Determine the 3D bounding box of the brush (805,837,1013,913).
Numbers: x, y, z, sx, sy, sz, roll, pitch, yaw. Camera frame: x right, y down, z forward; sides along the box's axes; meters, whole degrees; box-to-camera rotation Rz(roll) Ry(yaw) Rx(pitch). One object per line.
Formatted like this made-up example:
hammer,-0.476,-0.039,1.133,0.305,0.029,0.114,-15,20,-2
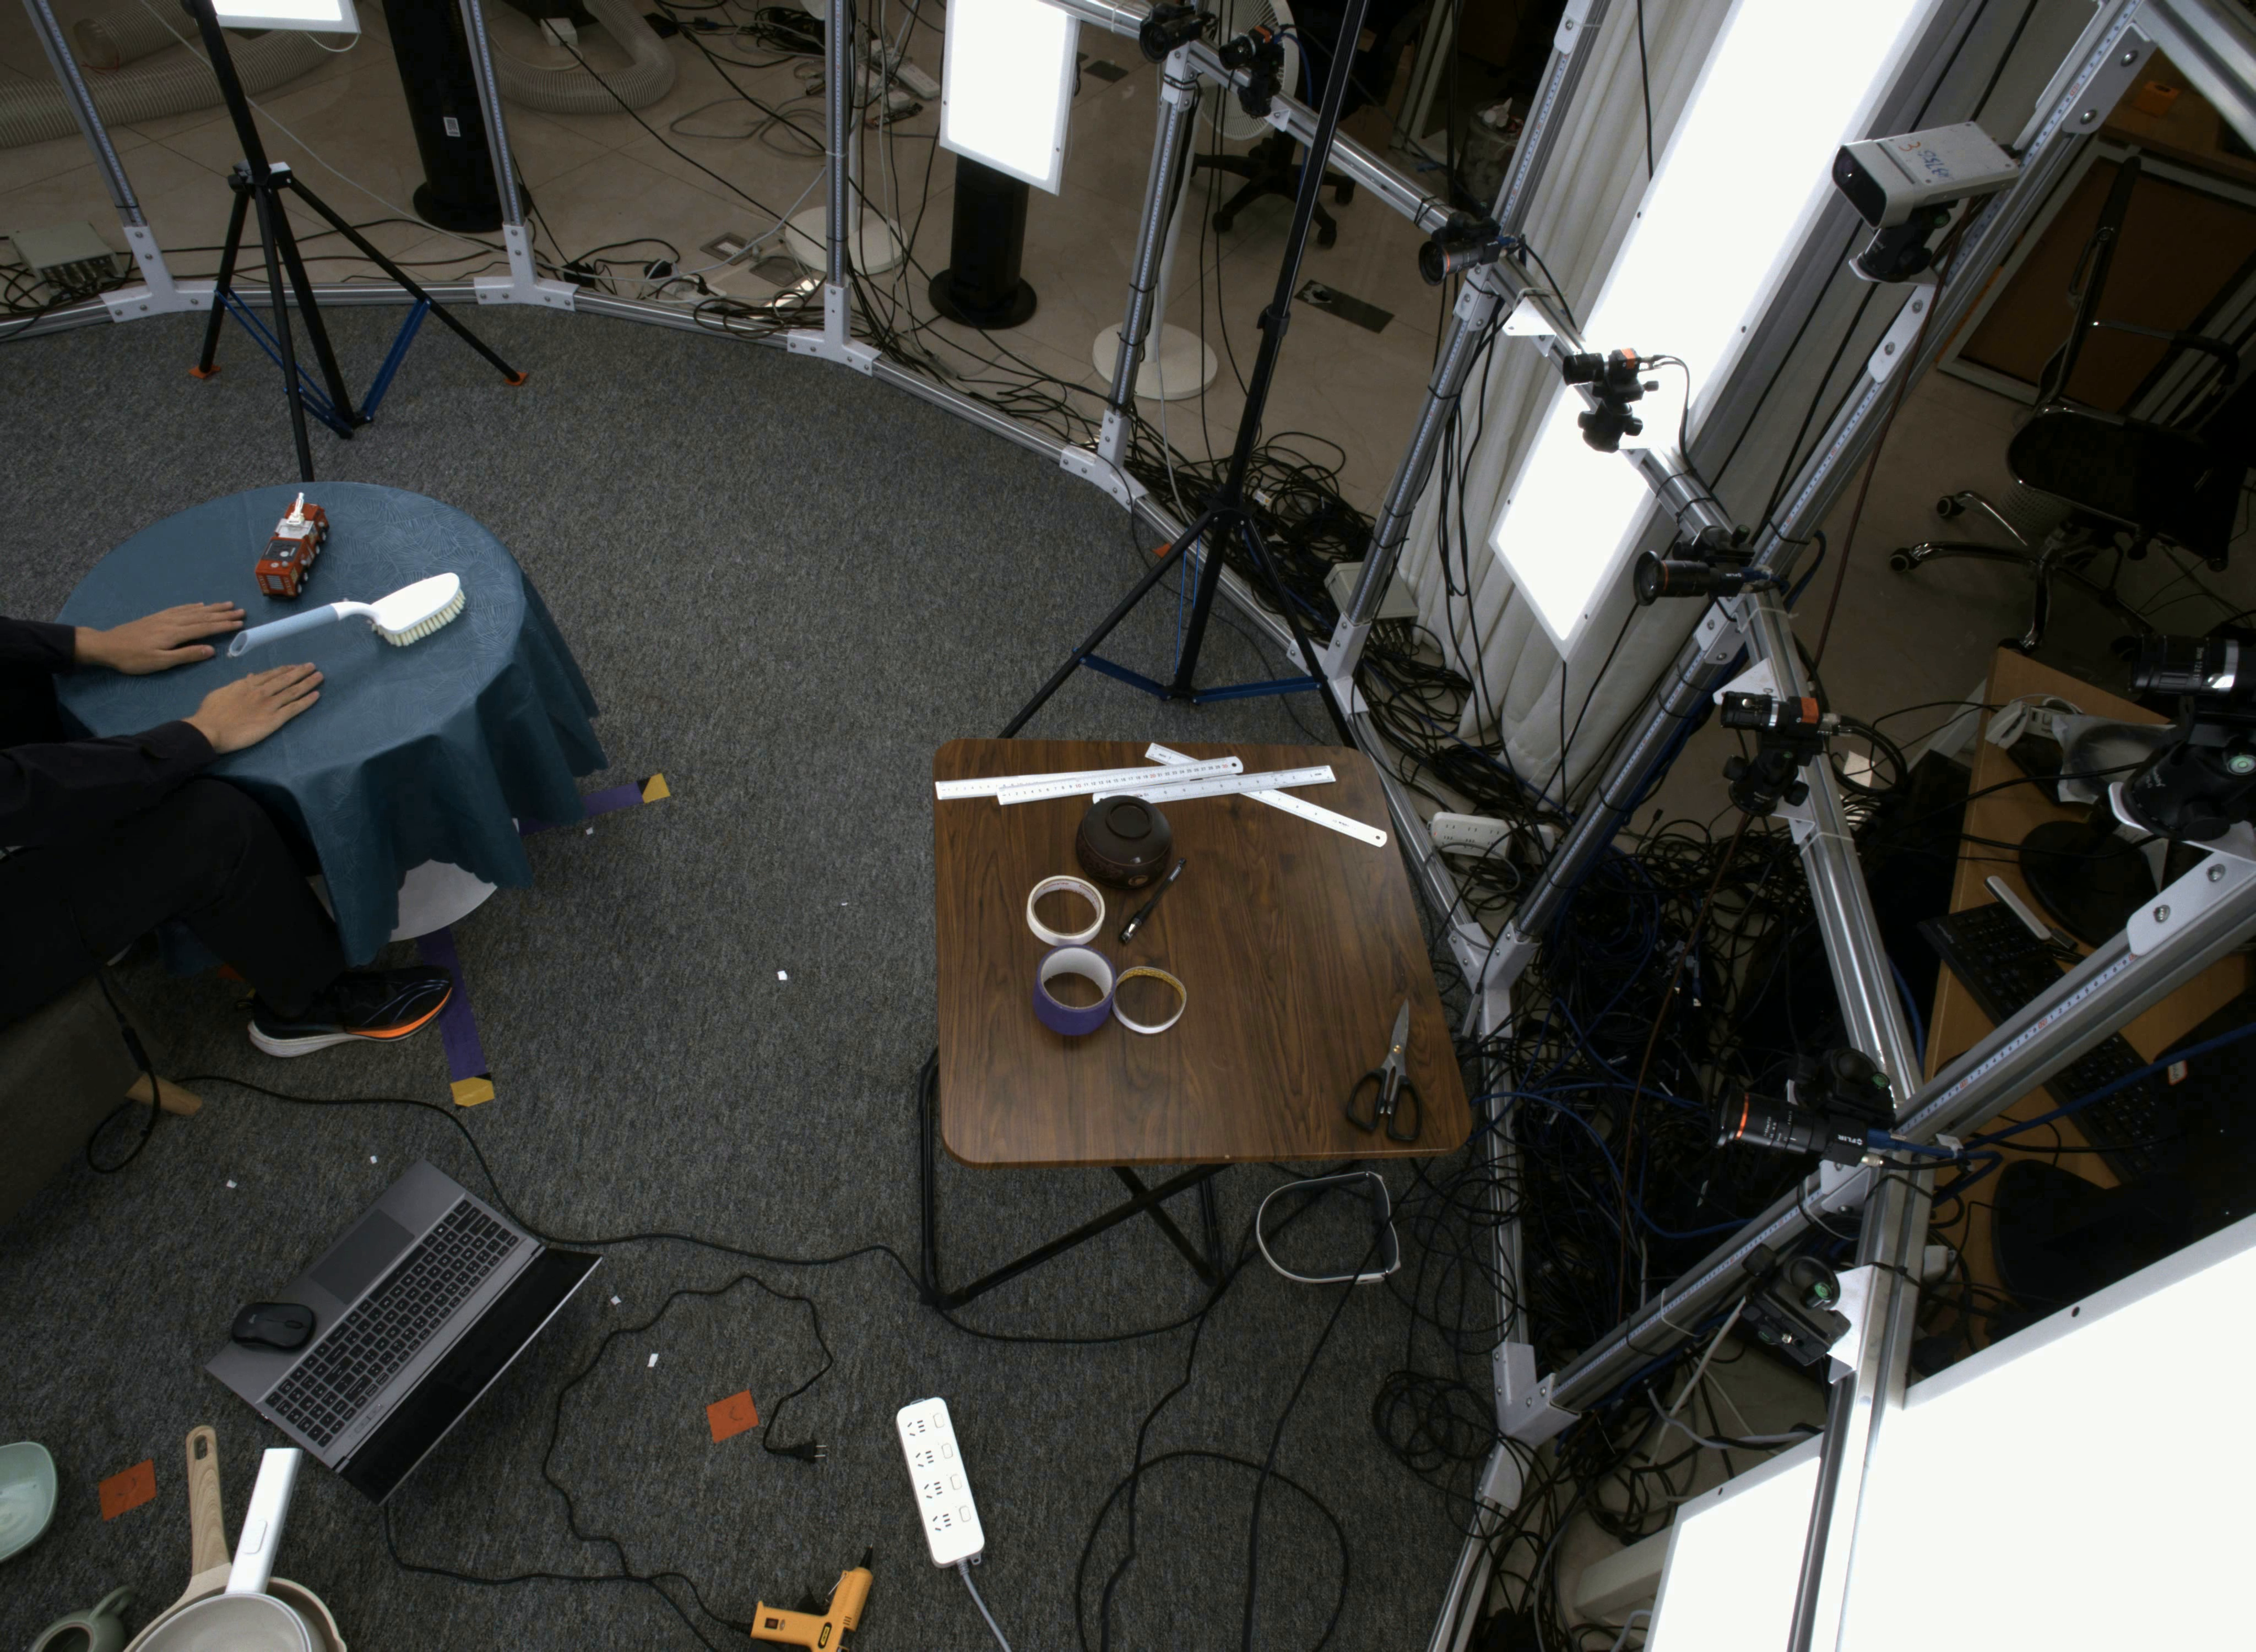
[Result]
brush,-0.330,0.083,1.962,0.330,0.084,0.082,9,-16,-26

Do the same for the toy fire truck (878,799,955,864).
toy fire truck,-0.349,0.011,2.154,0.052,0.072,0.168,16,26,23
